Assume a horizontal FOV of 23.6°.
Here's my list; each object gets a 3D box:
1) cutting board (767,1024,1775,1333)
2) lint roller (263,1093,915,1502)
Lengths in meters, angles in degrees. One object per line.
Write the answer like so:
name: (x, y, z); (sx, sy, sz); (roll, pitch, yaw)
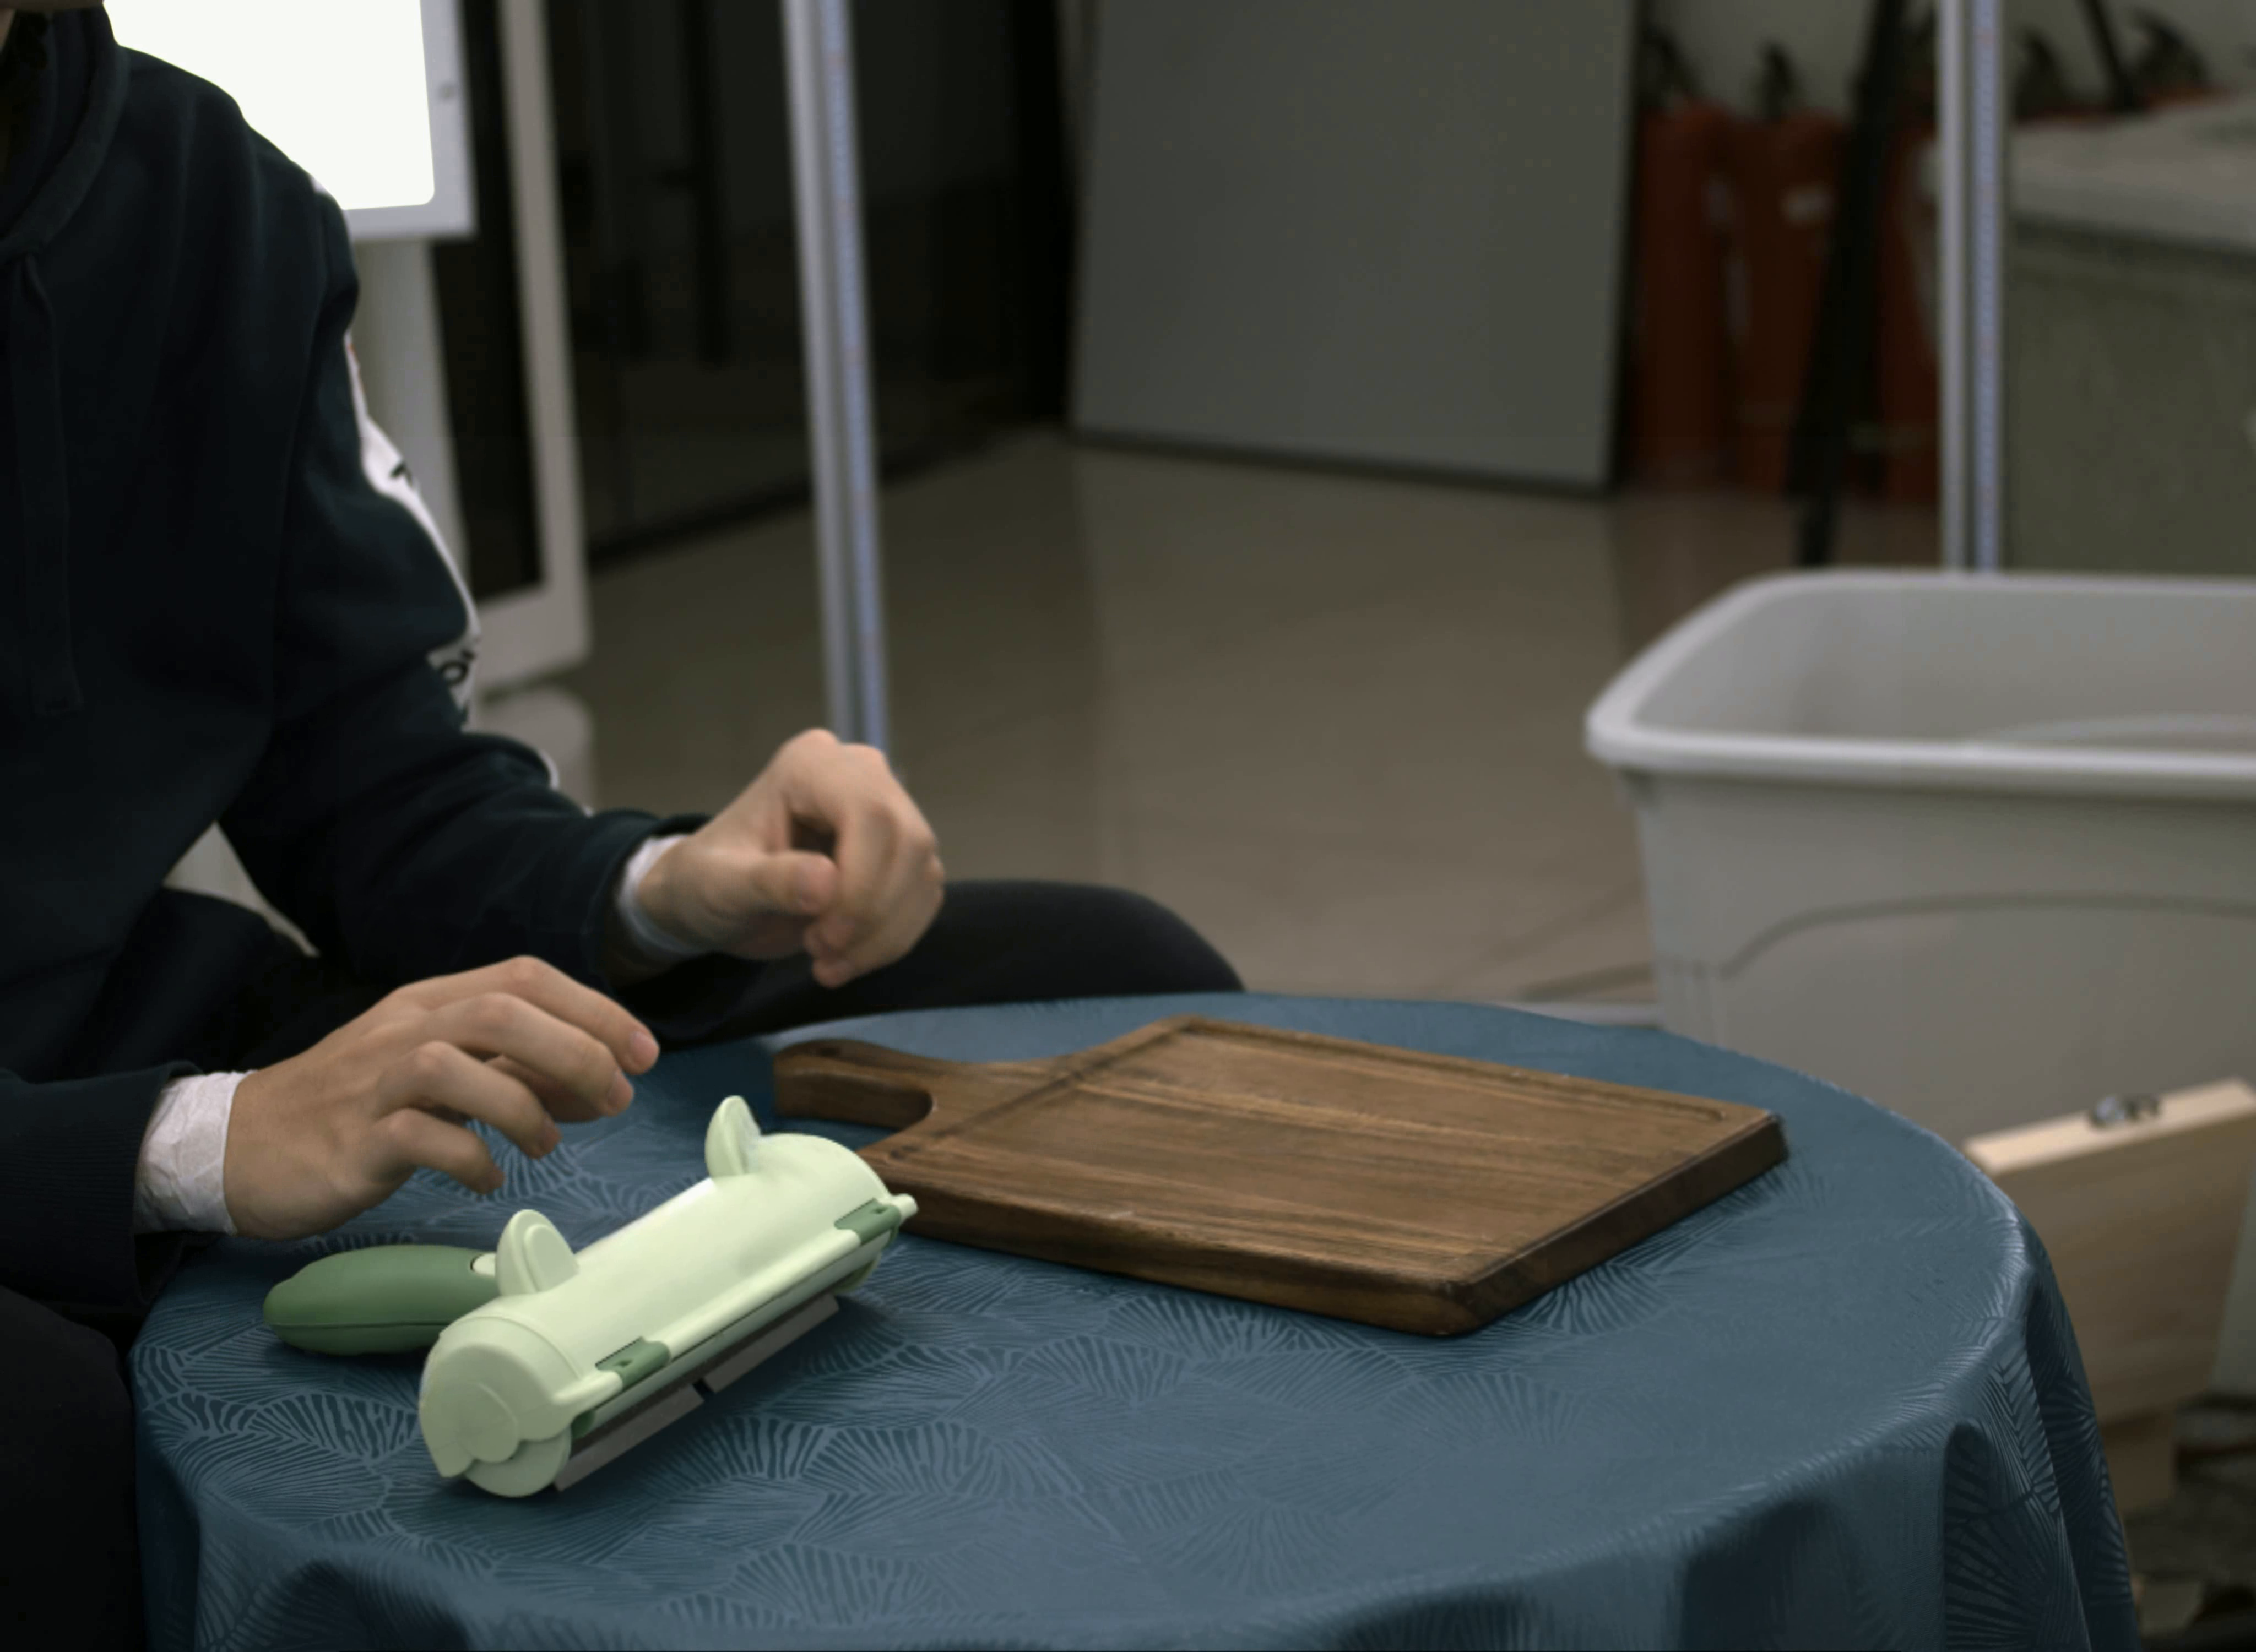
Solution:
cutting board: (0.020, 0.106, 1.784); (0.354, 0.023, 0.197); (6, 17, 38)
lint roller: (-0.186, 0.130, 1.630); (0.184, 0.083, 0.196); (8, 18, 27)
